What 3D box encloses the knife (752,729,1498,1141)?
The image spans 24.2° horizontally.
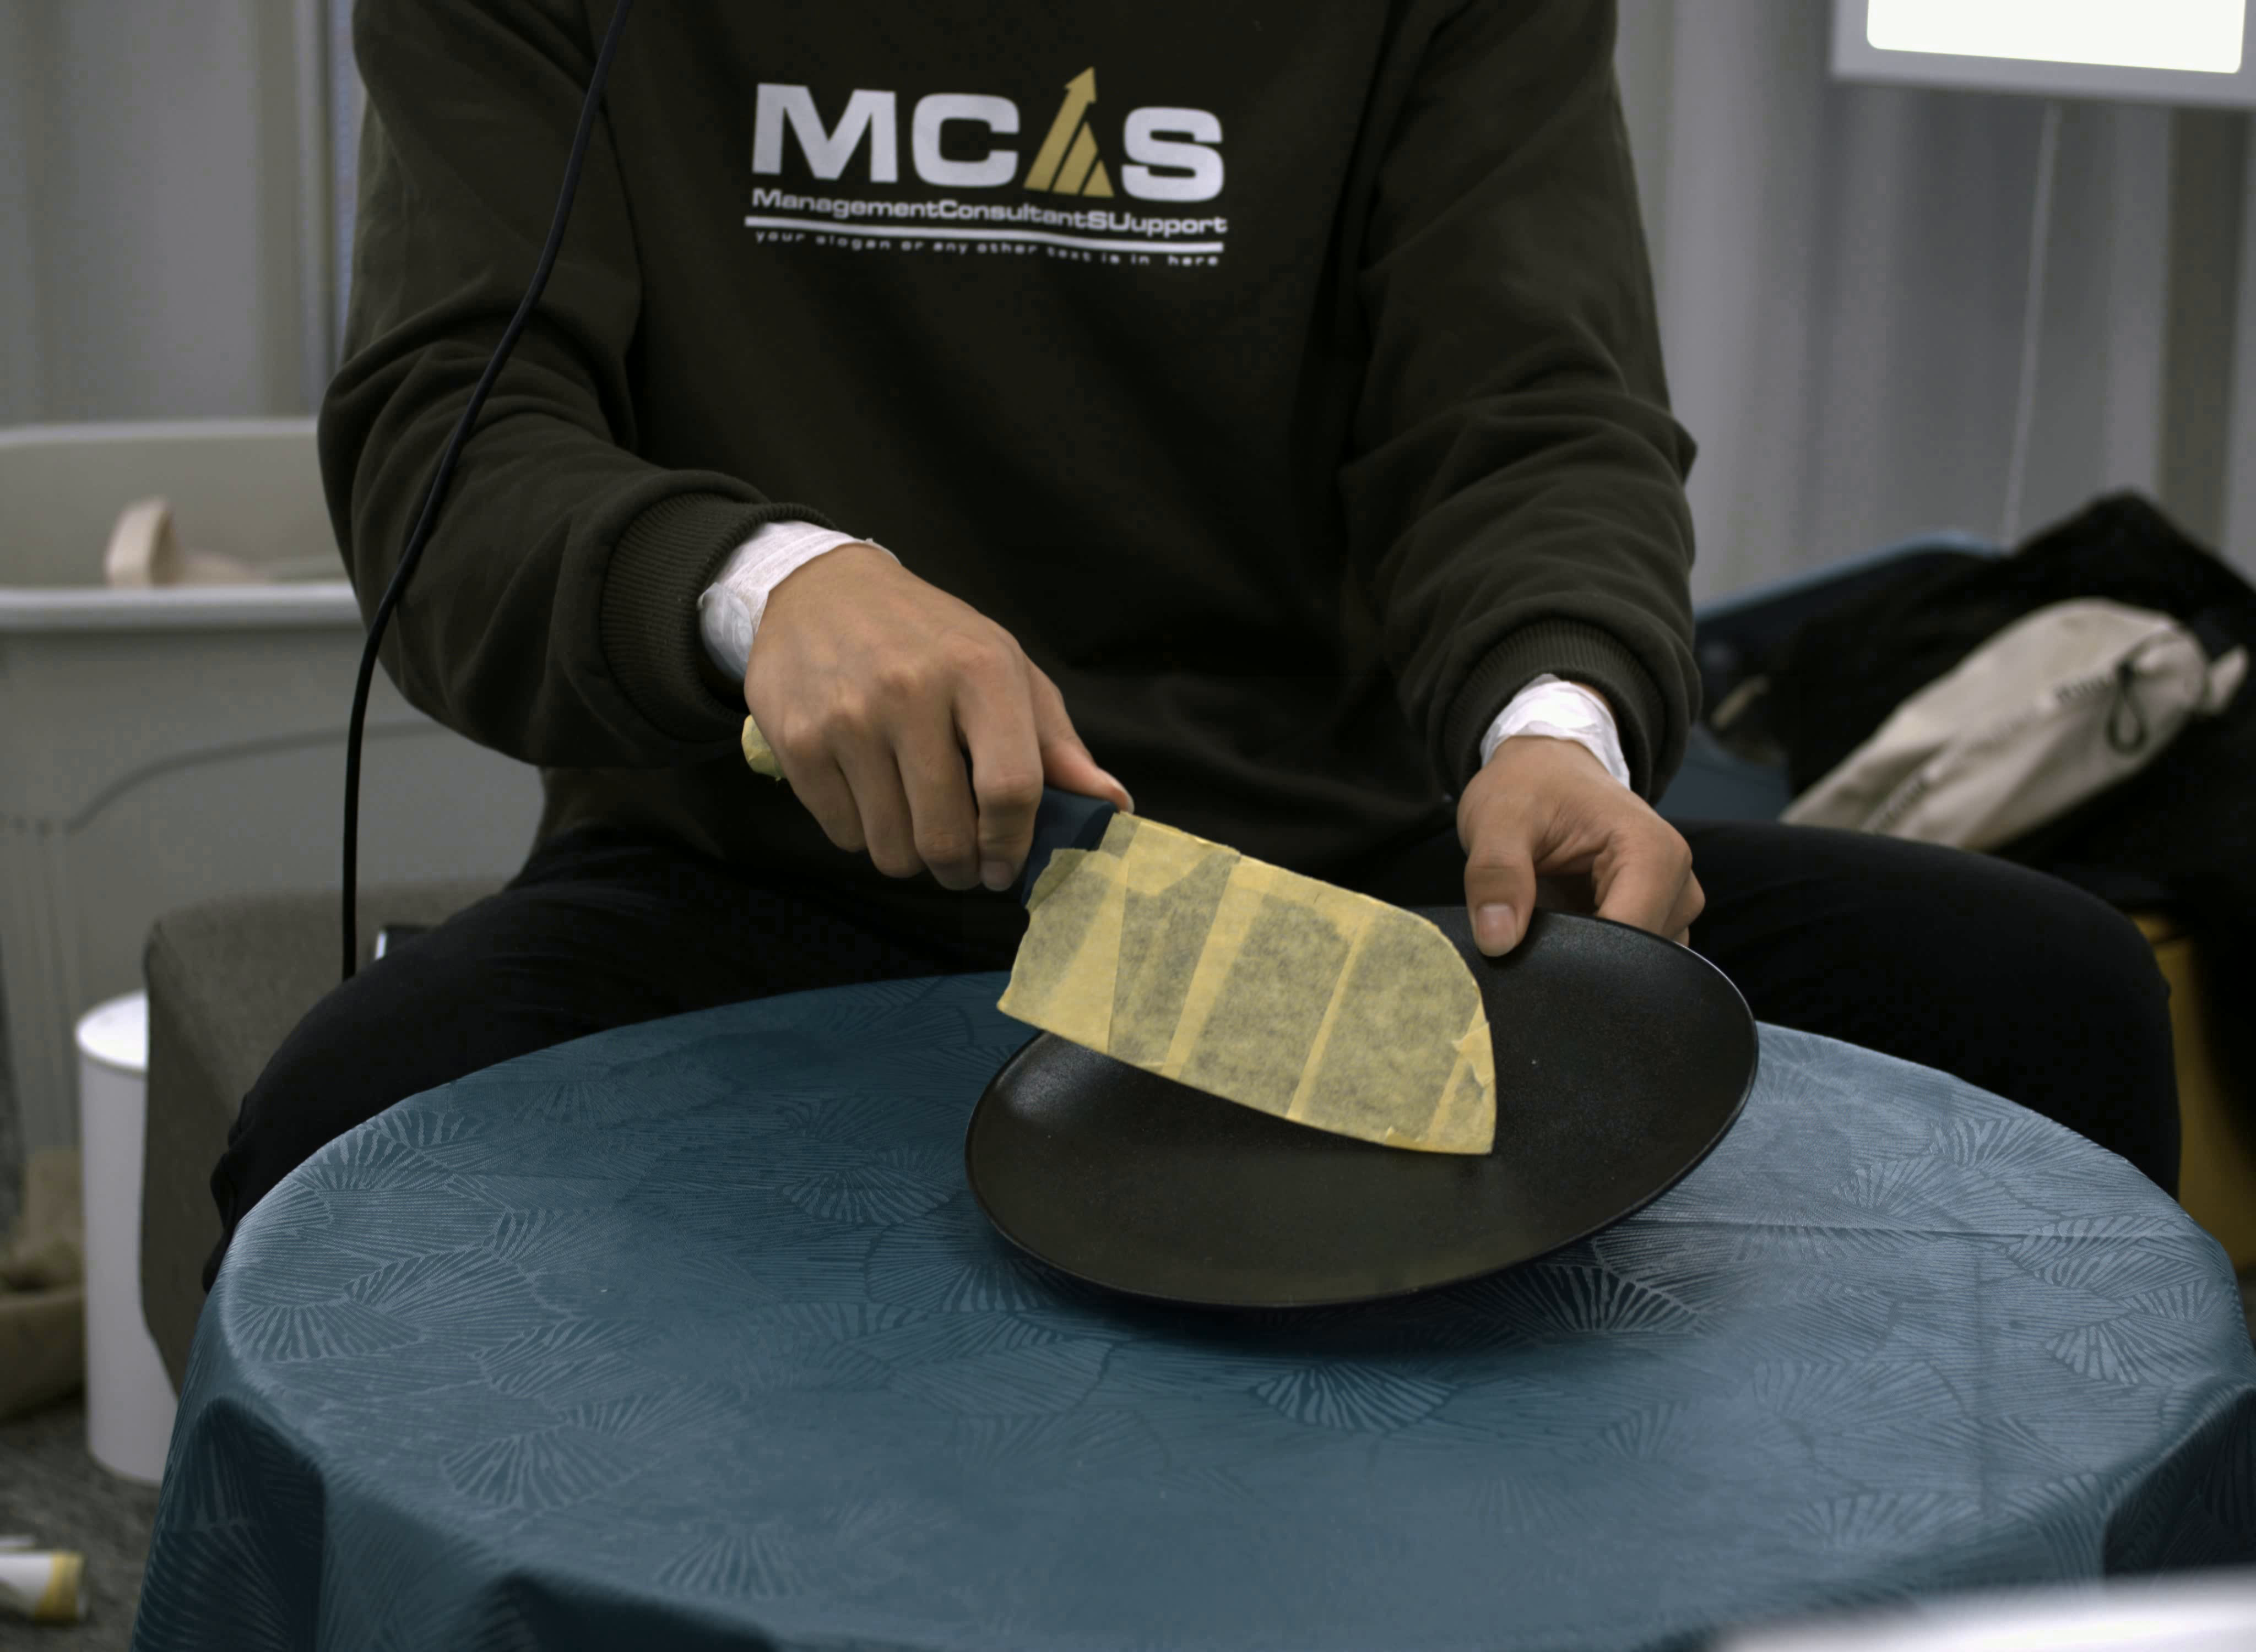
[{"bbox_3d":[-0.007,0.031,1.630,0.286,0.081,0.027,22,-4,29],"label":"knife"}]

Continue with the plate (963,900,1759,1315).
[{"bbox_3d":[0.070,0.089,1.590,0.243,0.024,0.242,-8,26,5],"label":"plate"}]
